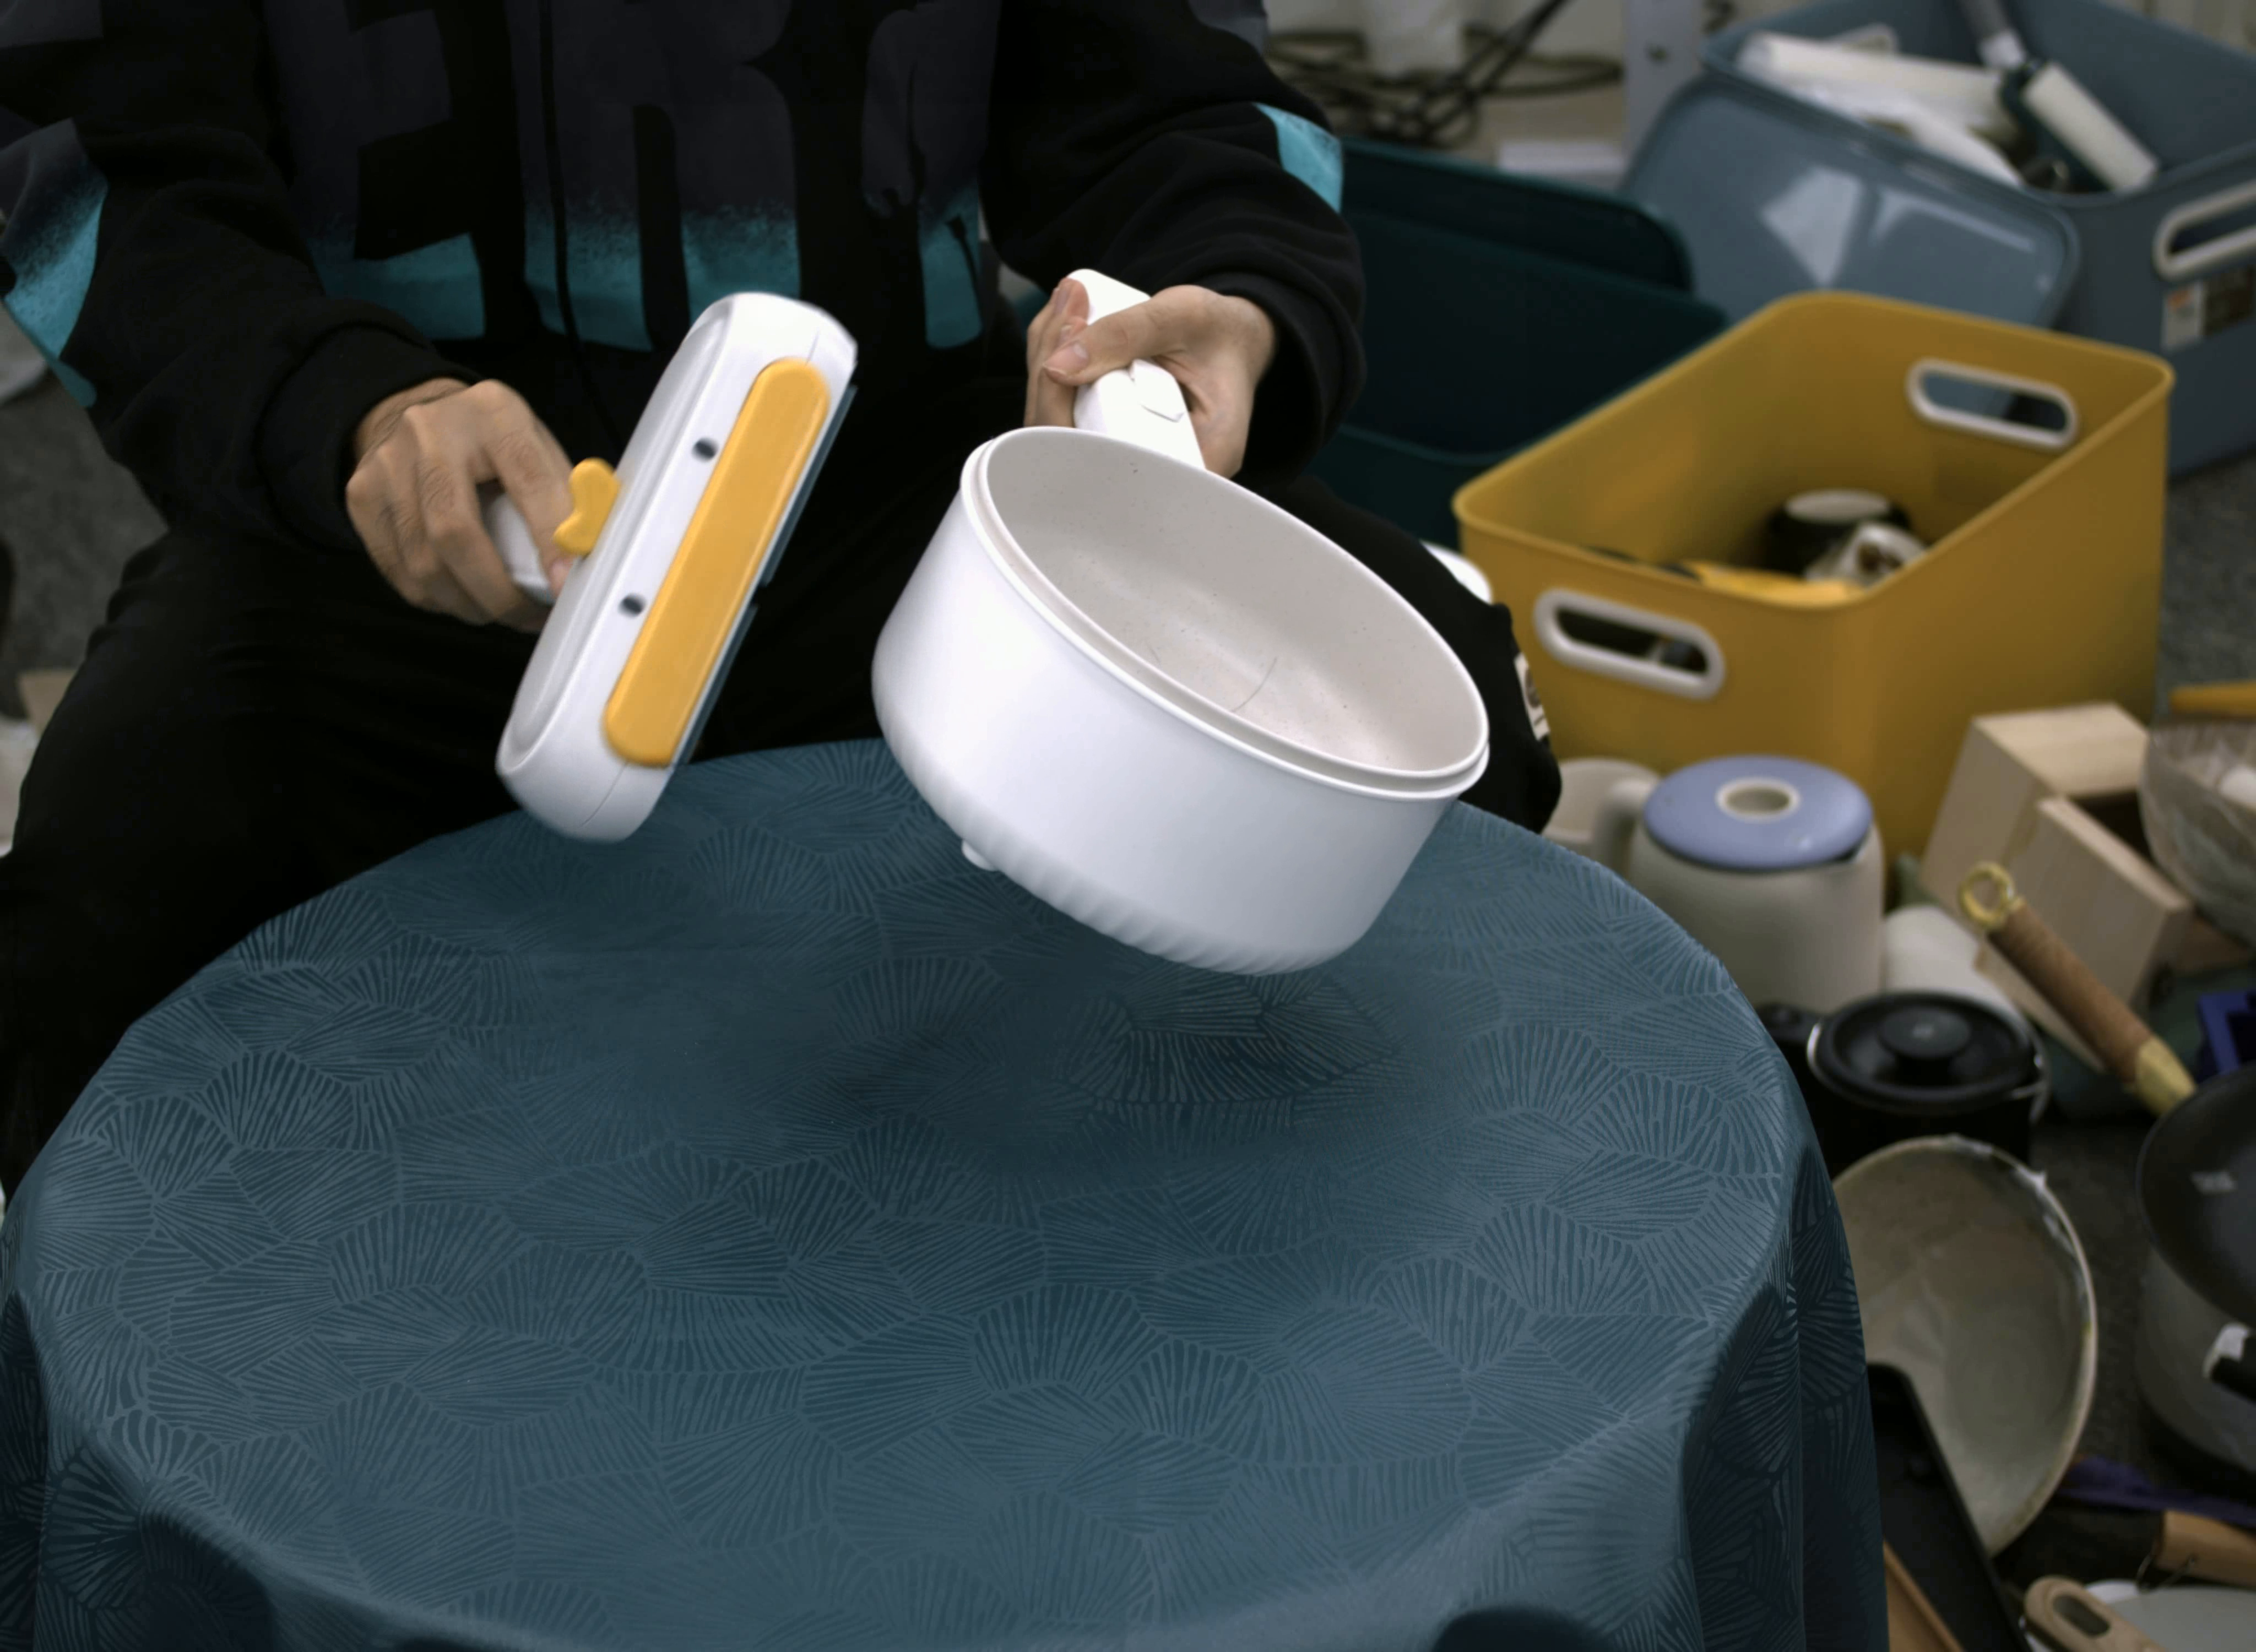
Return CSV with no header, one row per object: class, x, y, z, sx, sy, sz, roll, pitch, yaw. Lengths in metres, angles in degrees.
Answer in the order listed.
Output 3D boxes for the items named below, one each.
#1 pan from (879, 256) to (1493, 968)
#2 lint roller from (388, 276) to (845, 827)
pan,0.004,-0.080,1.957,0.200,0.101,0.360,24,24,-21
lint roller,-0.185,-0.093,1.904,0.074,0.195,0.191,26,-15,-29
